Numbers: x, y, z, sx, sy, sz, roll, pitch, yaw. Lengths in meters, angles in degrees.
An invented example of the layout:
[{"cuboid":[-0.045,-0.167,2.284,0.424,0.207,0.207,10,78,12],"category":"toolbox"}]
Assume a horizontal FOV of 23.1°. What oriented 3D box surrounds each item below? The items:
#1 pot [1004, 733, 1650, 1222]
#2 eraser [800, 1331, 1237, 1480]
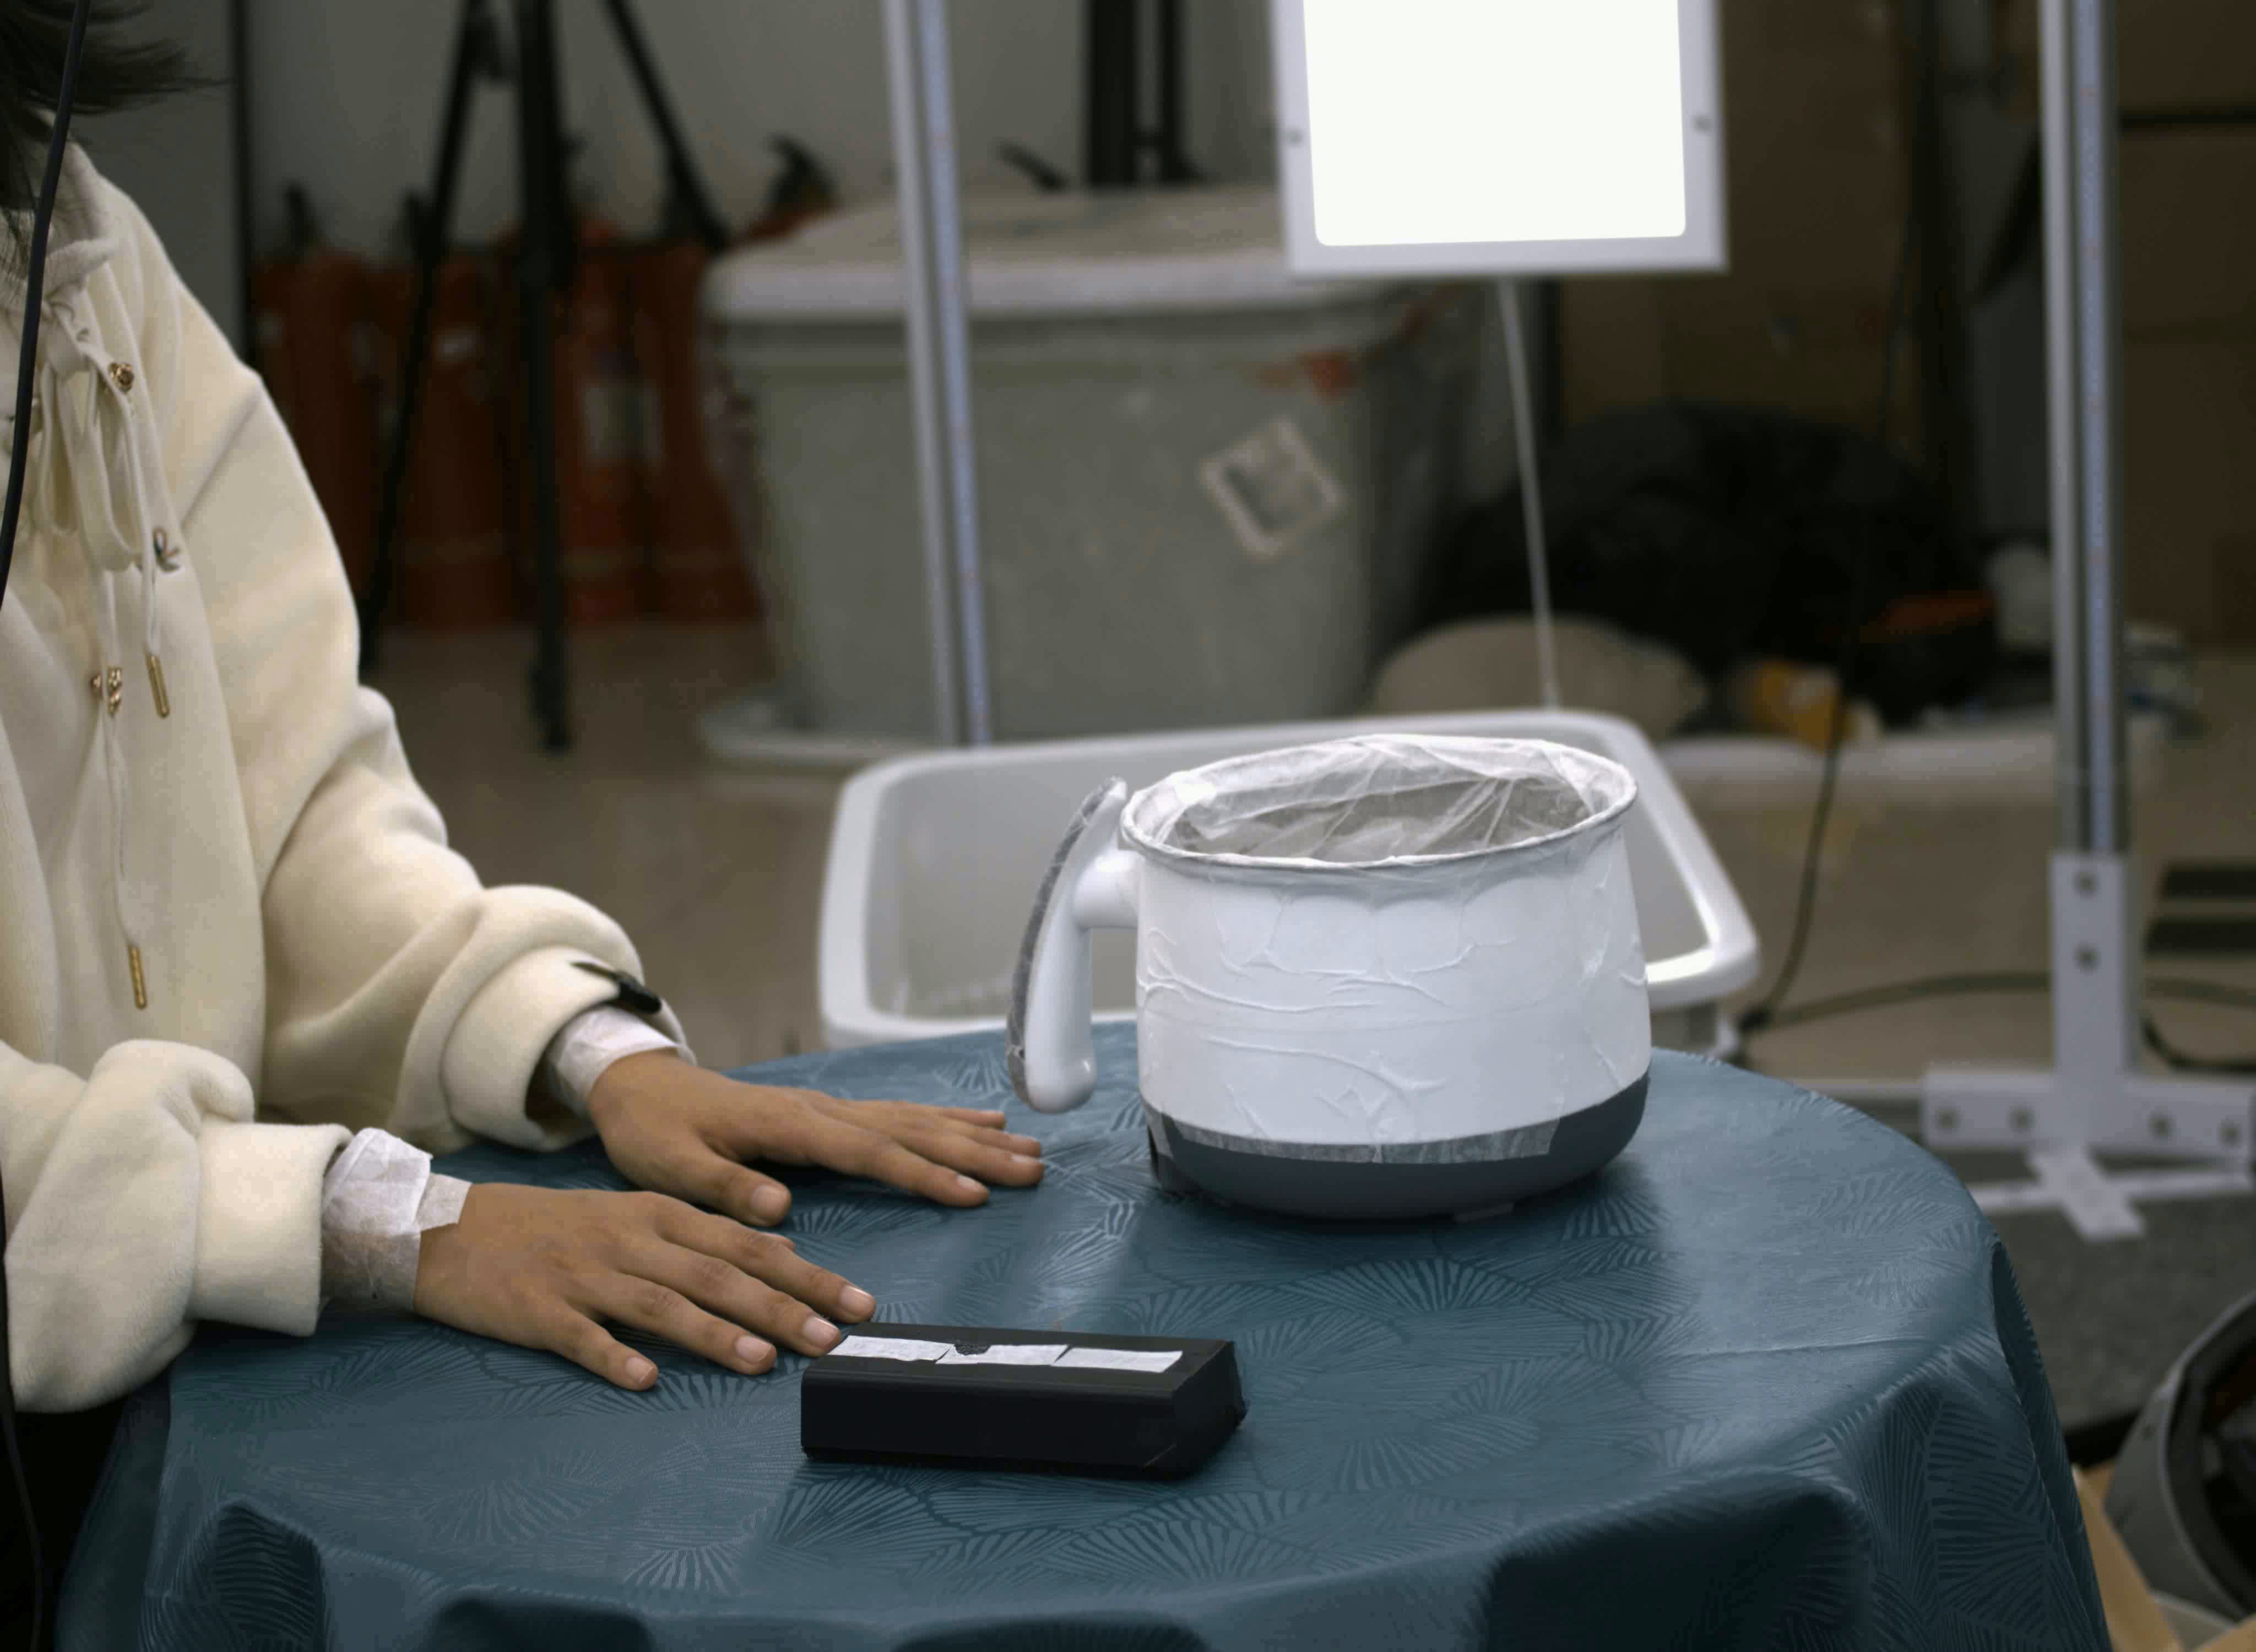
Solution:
[{"cuboid":[0.064,0.050,1.893,0.237,0.137,0.175,2,15,24],"category":"pot"},{"cuboid":[-0.032,0.174,1.661,0.127,0.030,0.052,0,14,24],"category":"eraser"}]
